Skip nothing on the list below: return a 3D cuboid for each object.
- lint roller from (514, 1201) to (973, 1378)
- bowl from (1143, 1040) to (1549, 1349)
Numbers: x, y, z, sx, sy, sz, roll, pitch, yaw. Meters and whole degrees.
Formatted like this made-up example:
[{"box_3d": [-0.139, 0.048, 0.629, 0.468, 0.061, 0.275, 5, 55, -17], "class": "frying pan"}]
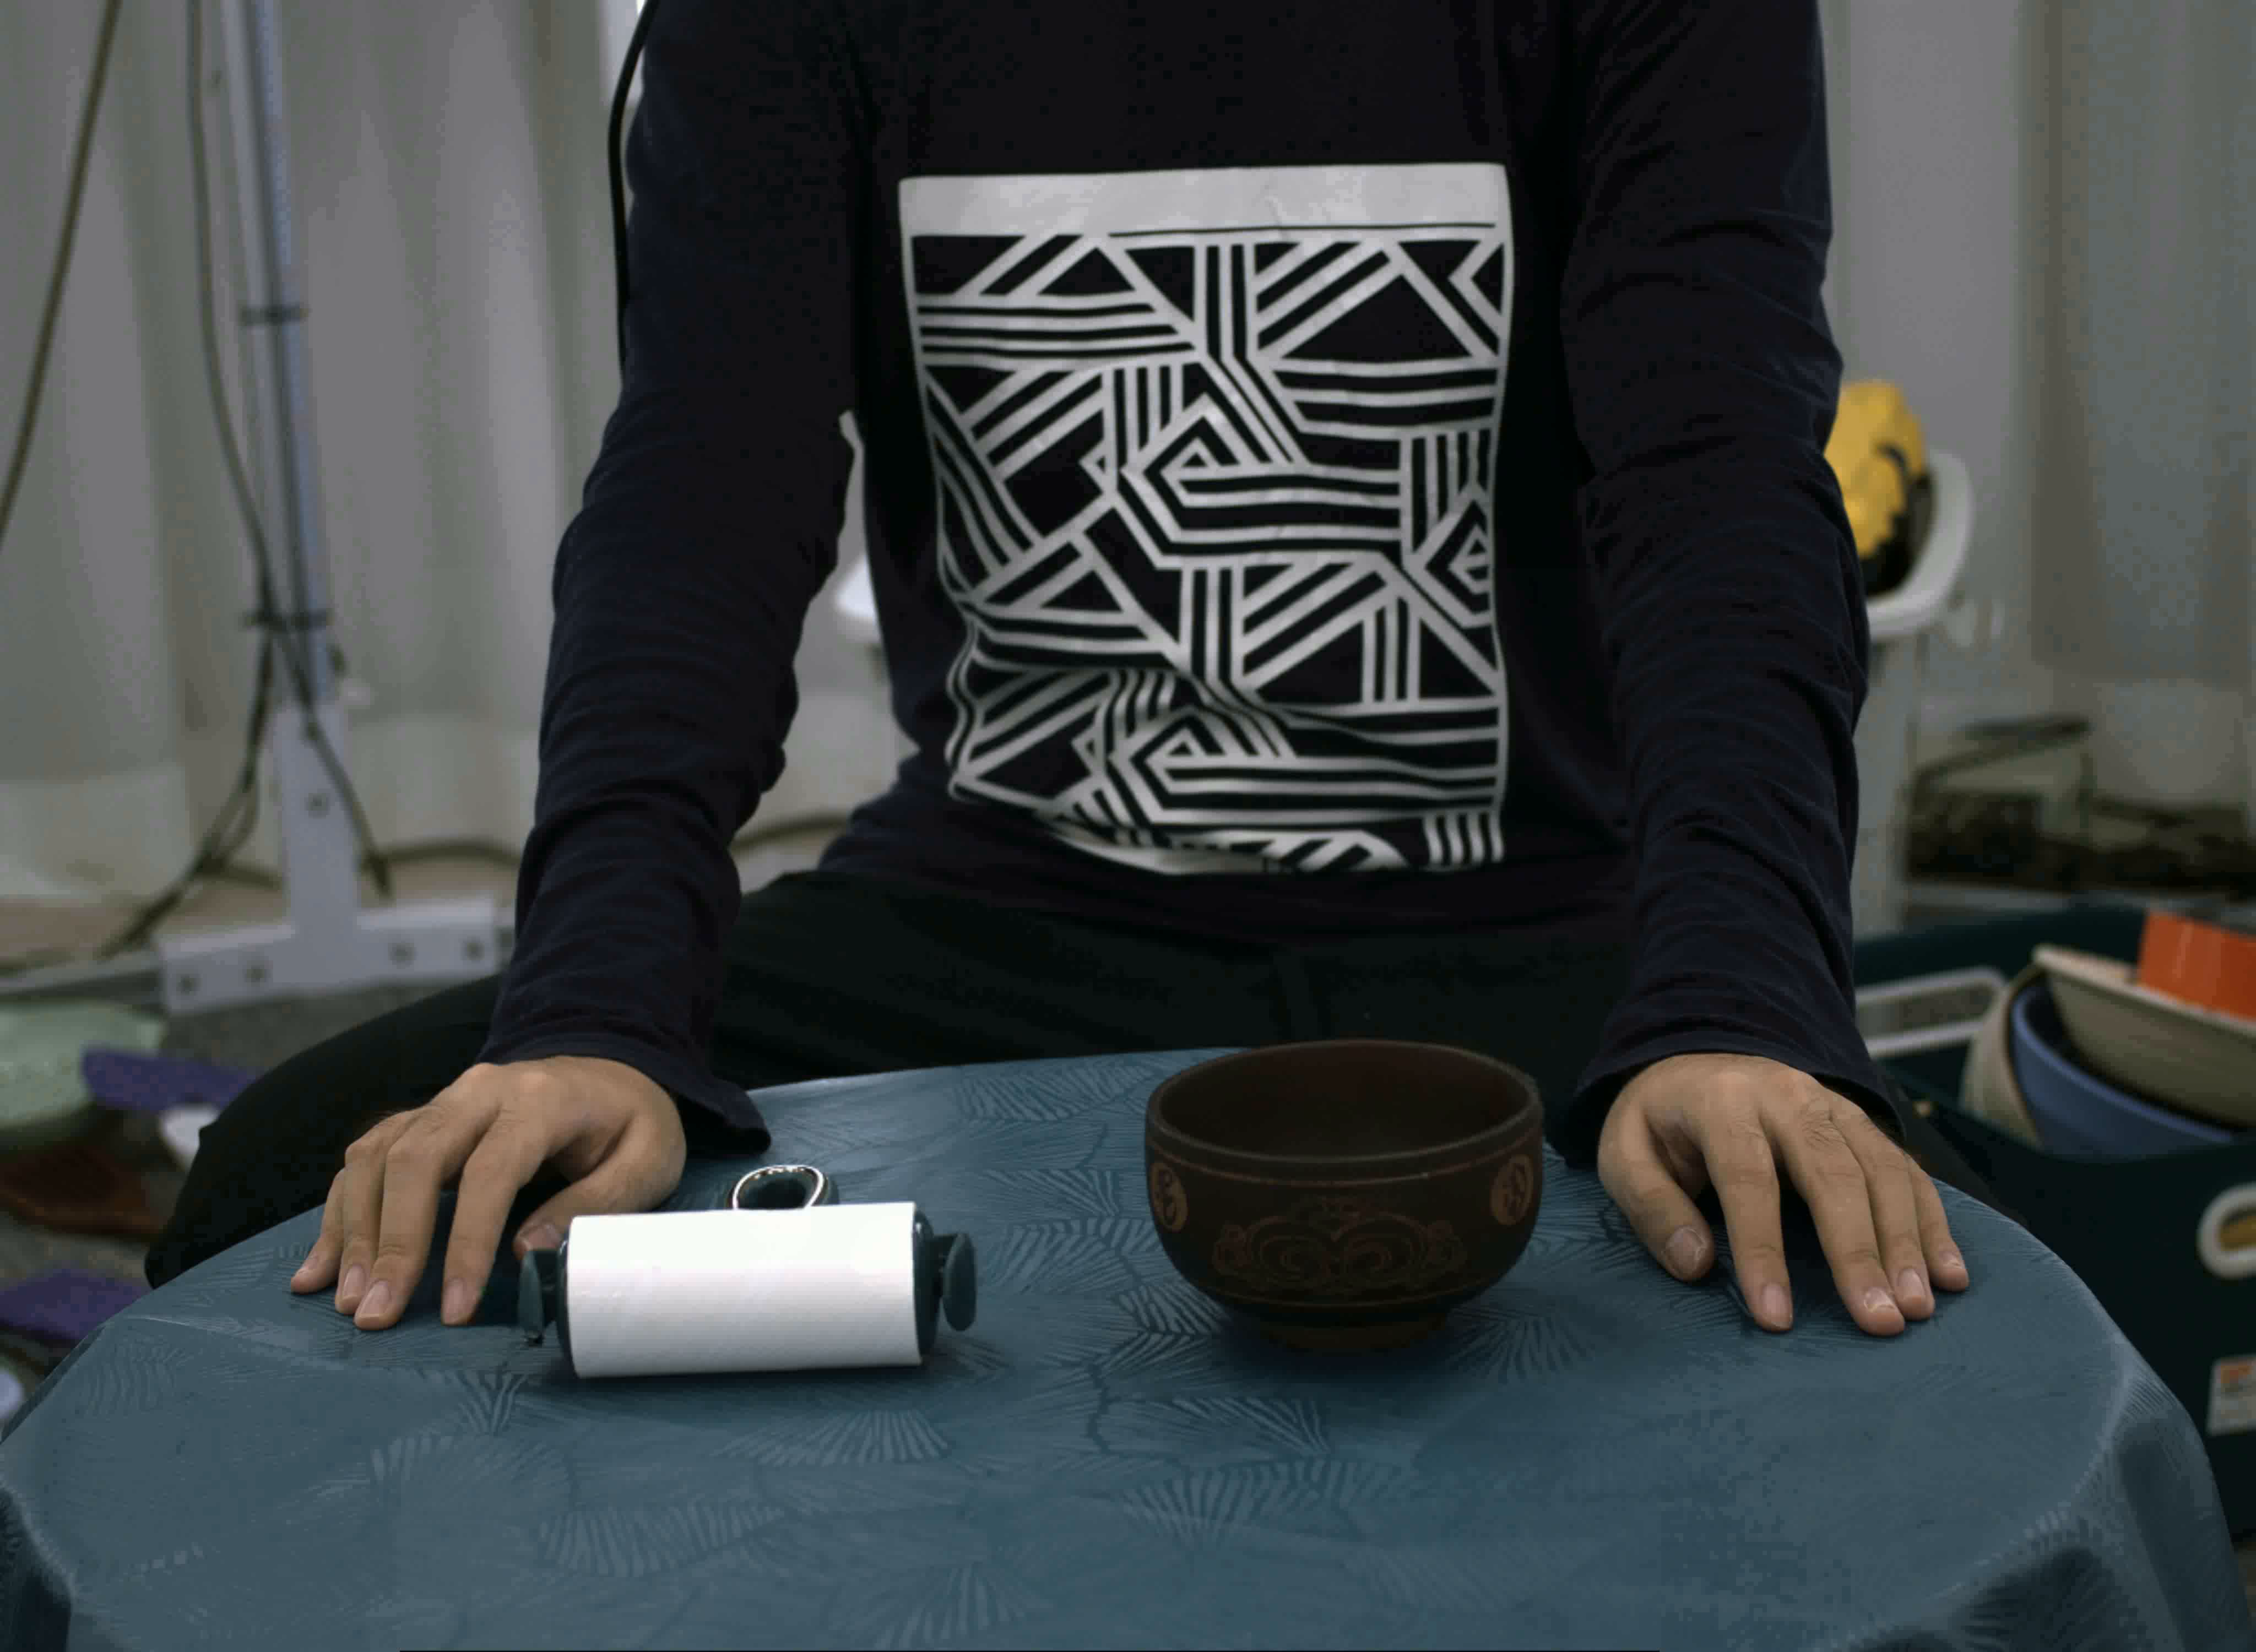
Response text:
[{"box_3d": [-0.110, 0.120, 1.640, 0.134, 0.048, 0.181, -3, 12, 1], "class": "lint roller"}, {"box_3d": [0.064, 0.110, 1.583, 0.117, 0.069, 0.118, -4, 12, 1], "class": "bowl"}]
